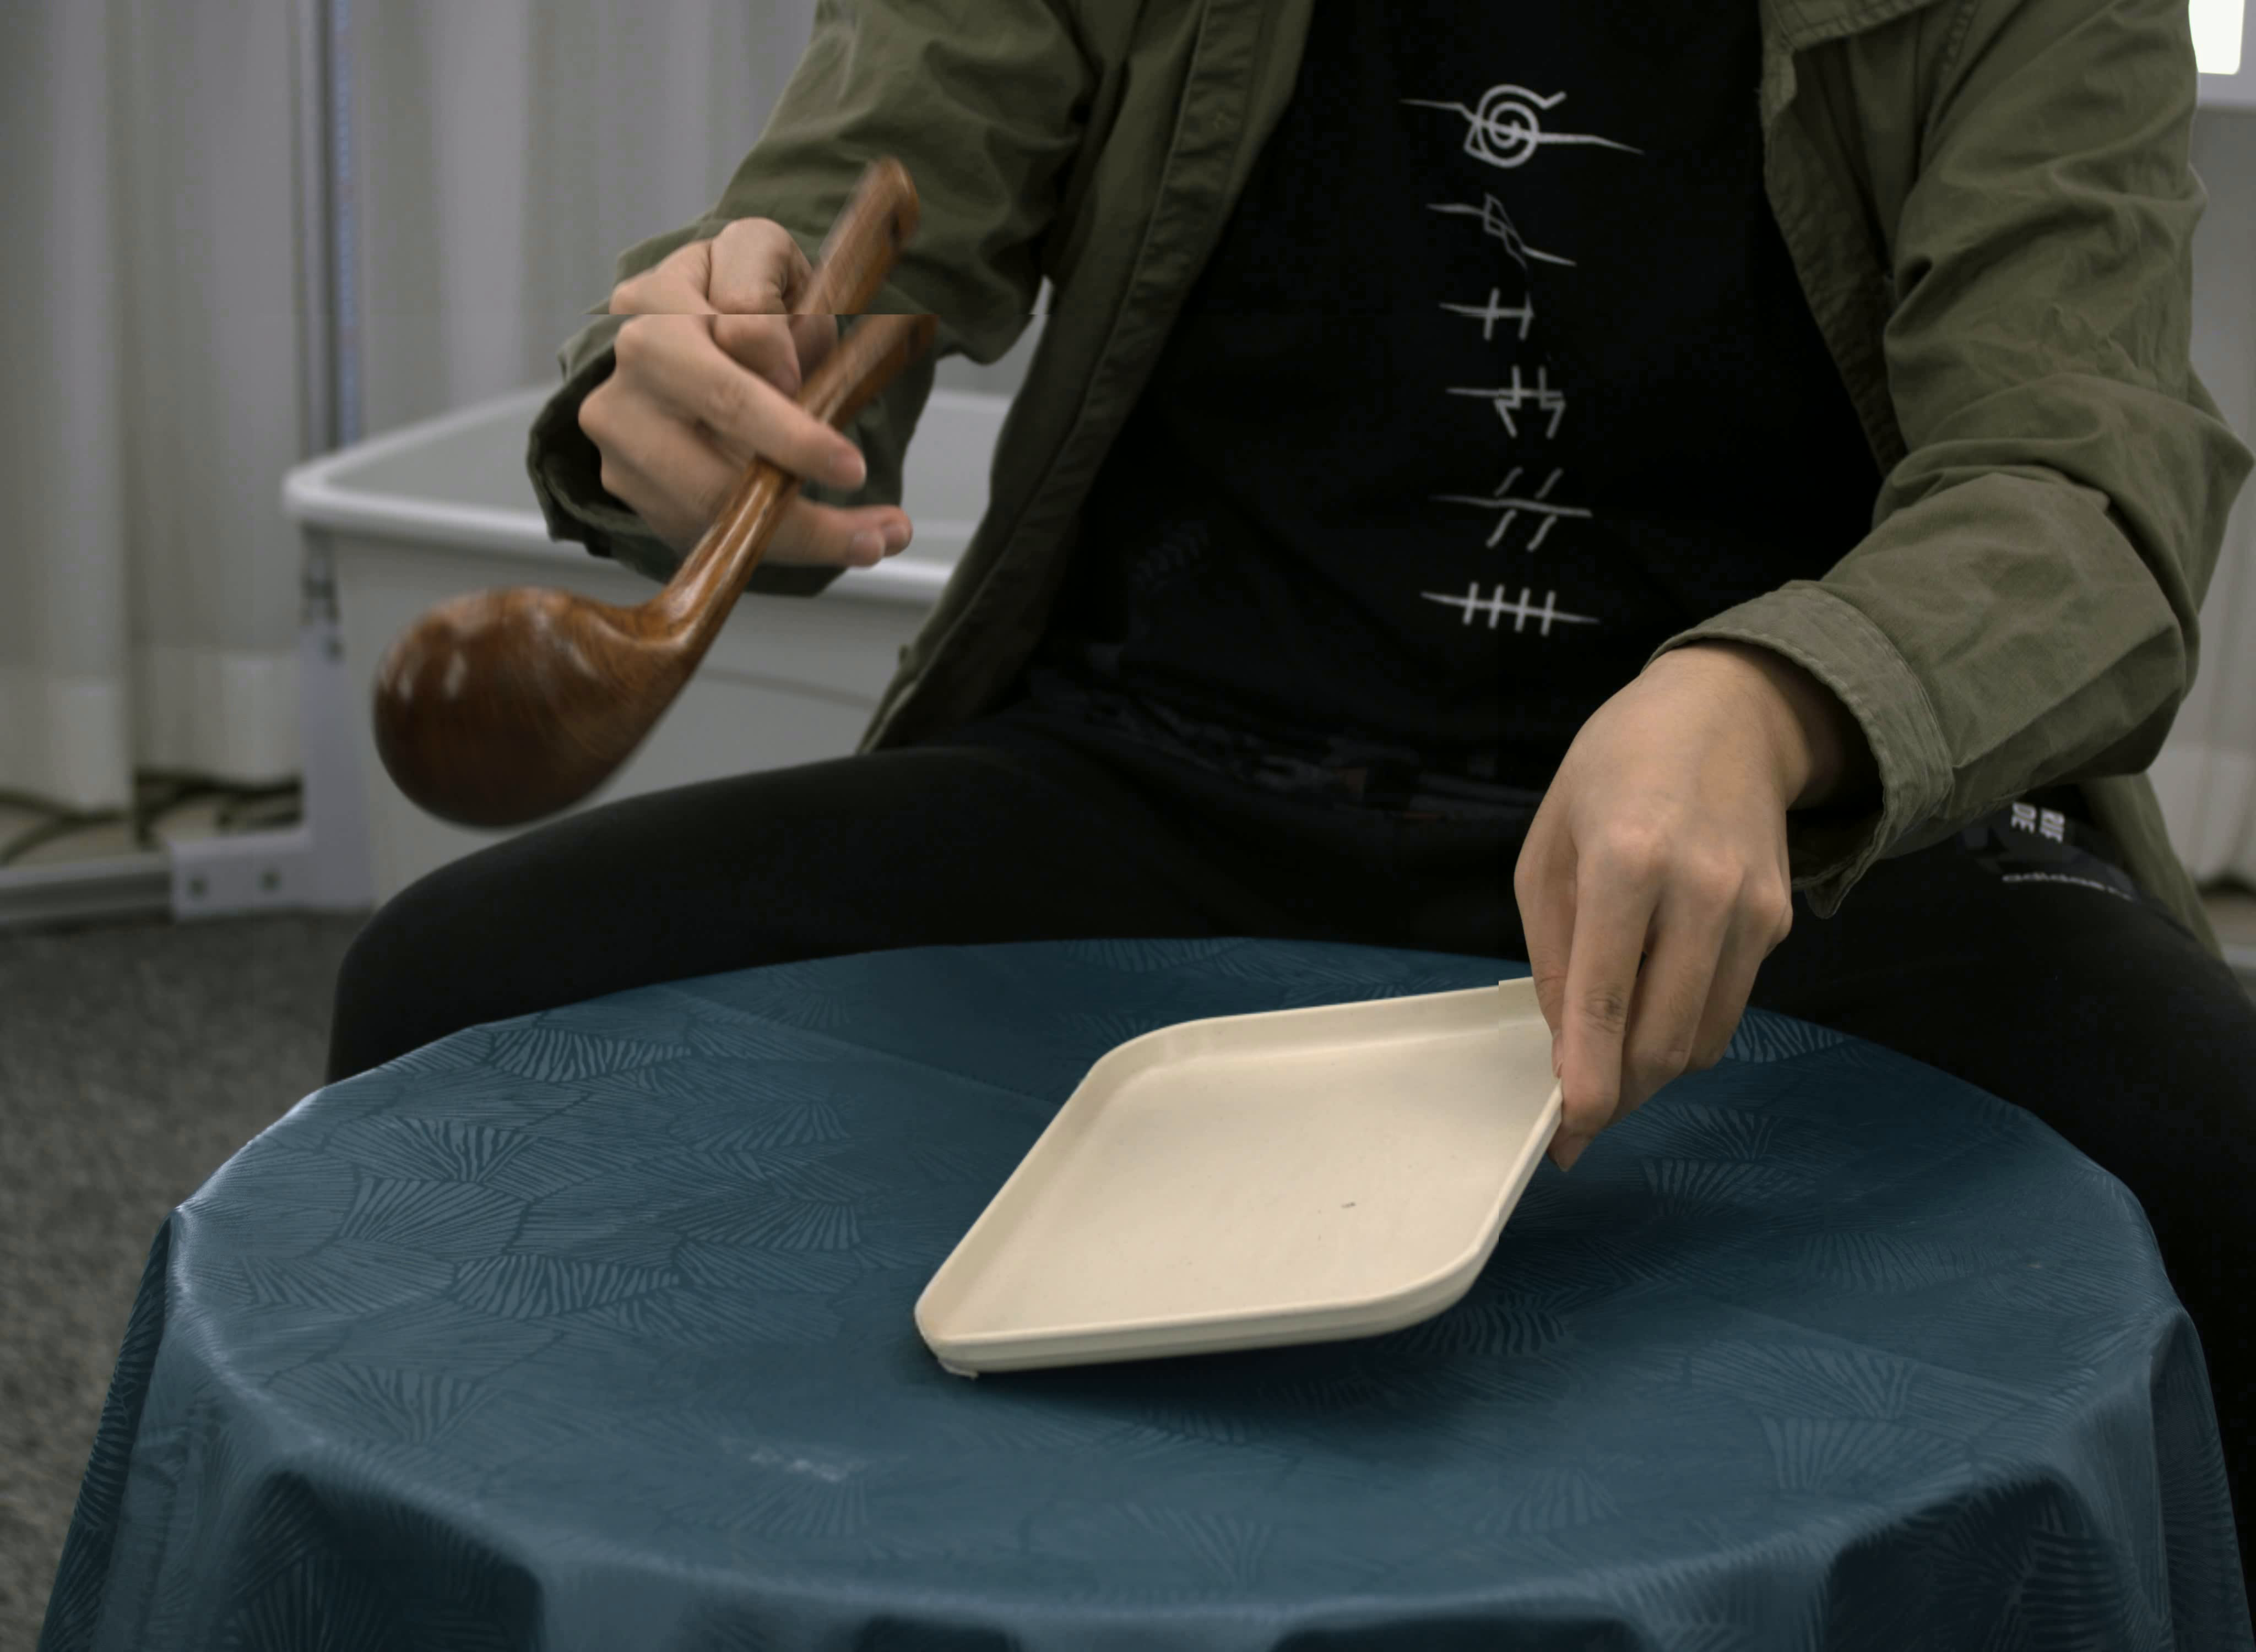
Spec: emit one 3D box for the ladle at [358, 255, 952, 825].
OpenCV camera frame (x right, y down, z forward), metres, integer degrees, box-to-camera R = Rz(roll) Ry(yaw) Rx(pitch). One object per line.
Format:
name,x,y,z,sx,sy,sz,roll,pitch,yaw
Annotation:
ladle,-0.140,-0.097,1.579,0.076,0.083,0.273,20,44,11

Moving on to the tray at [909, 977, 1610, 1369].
tray,0.044,0.101,1.550,0.170,0.017,0.239,-7,17,20
